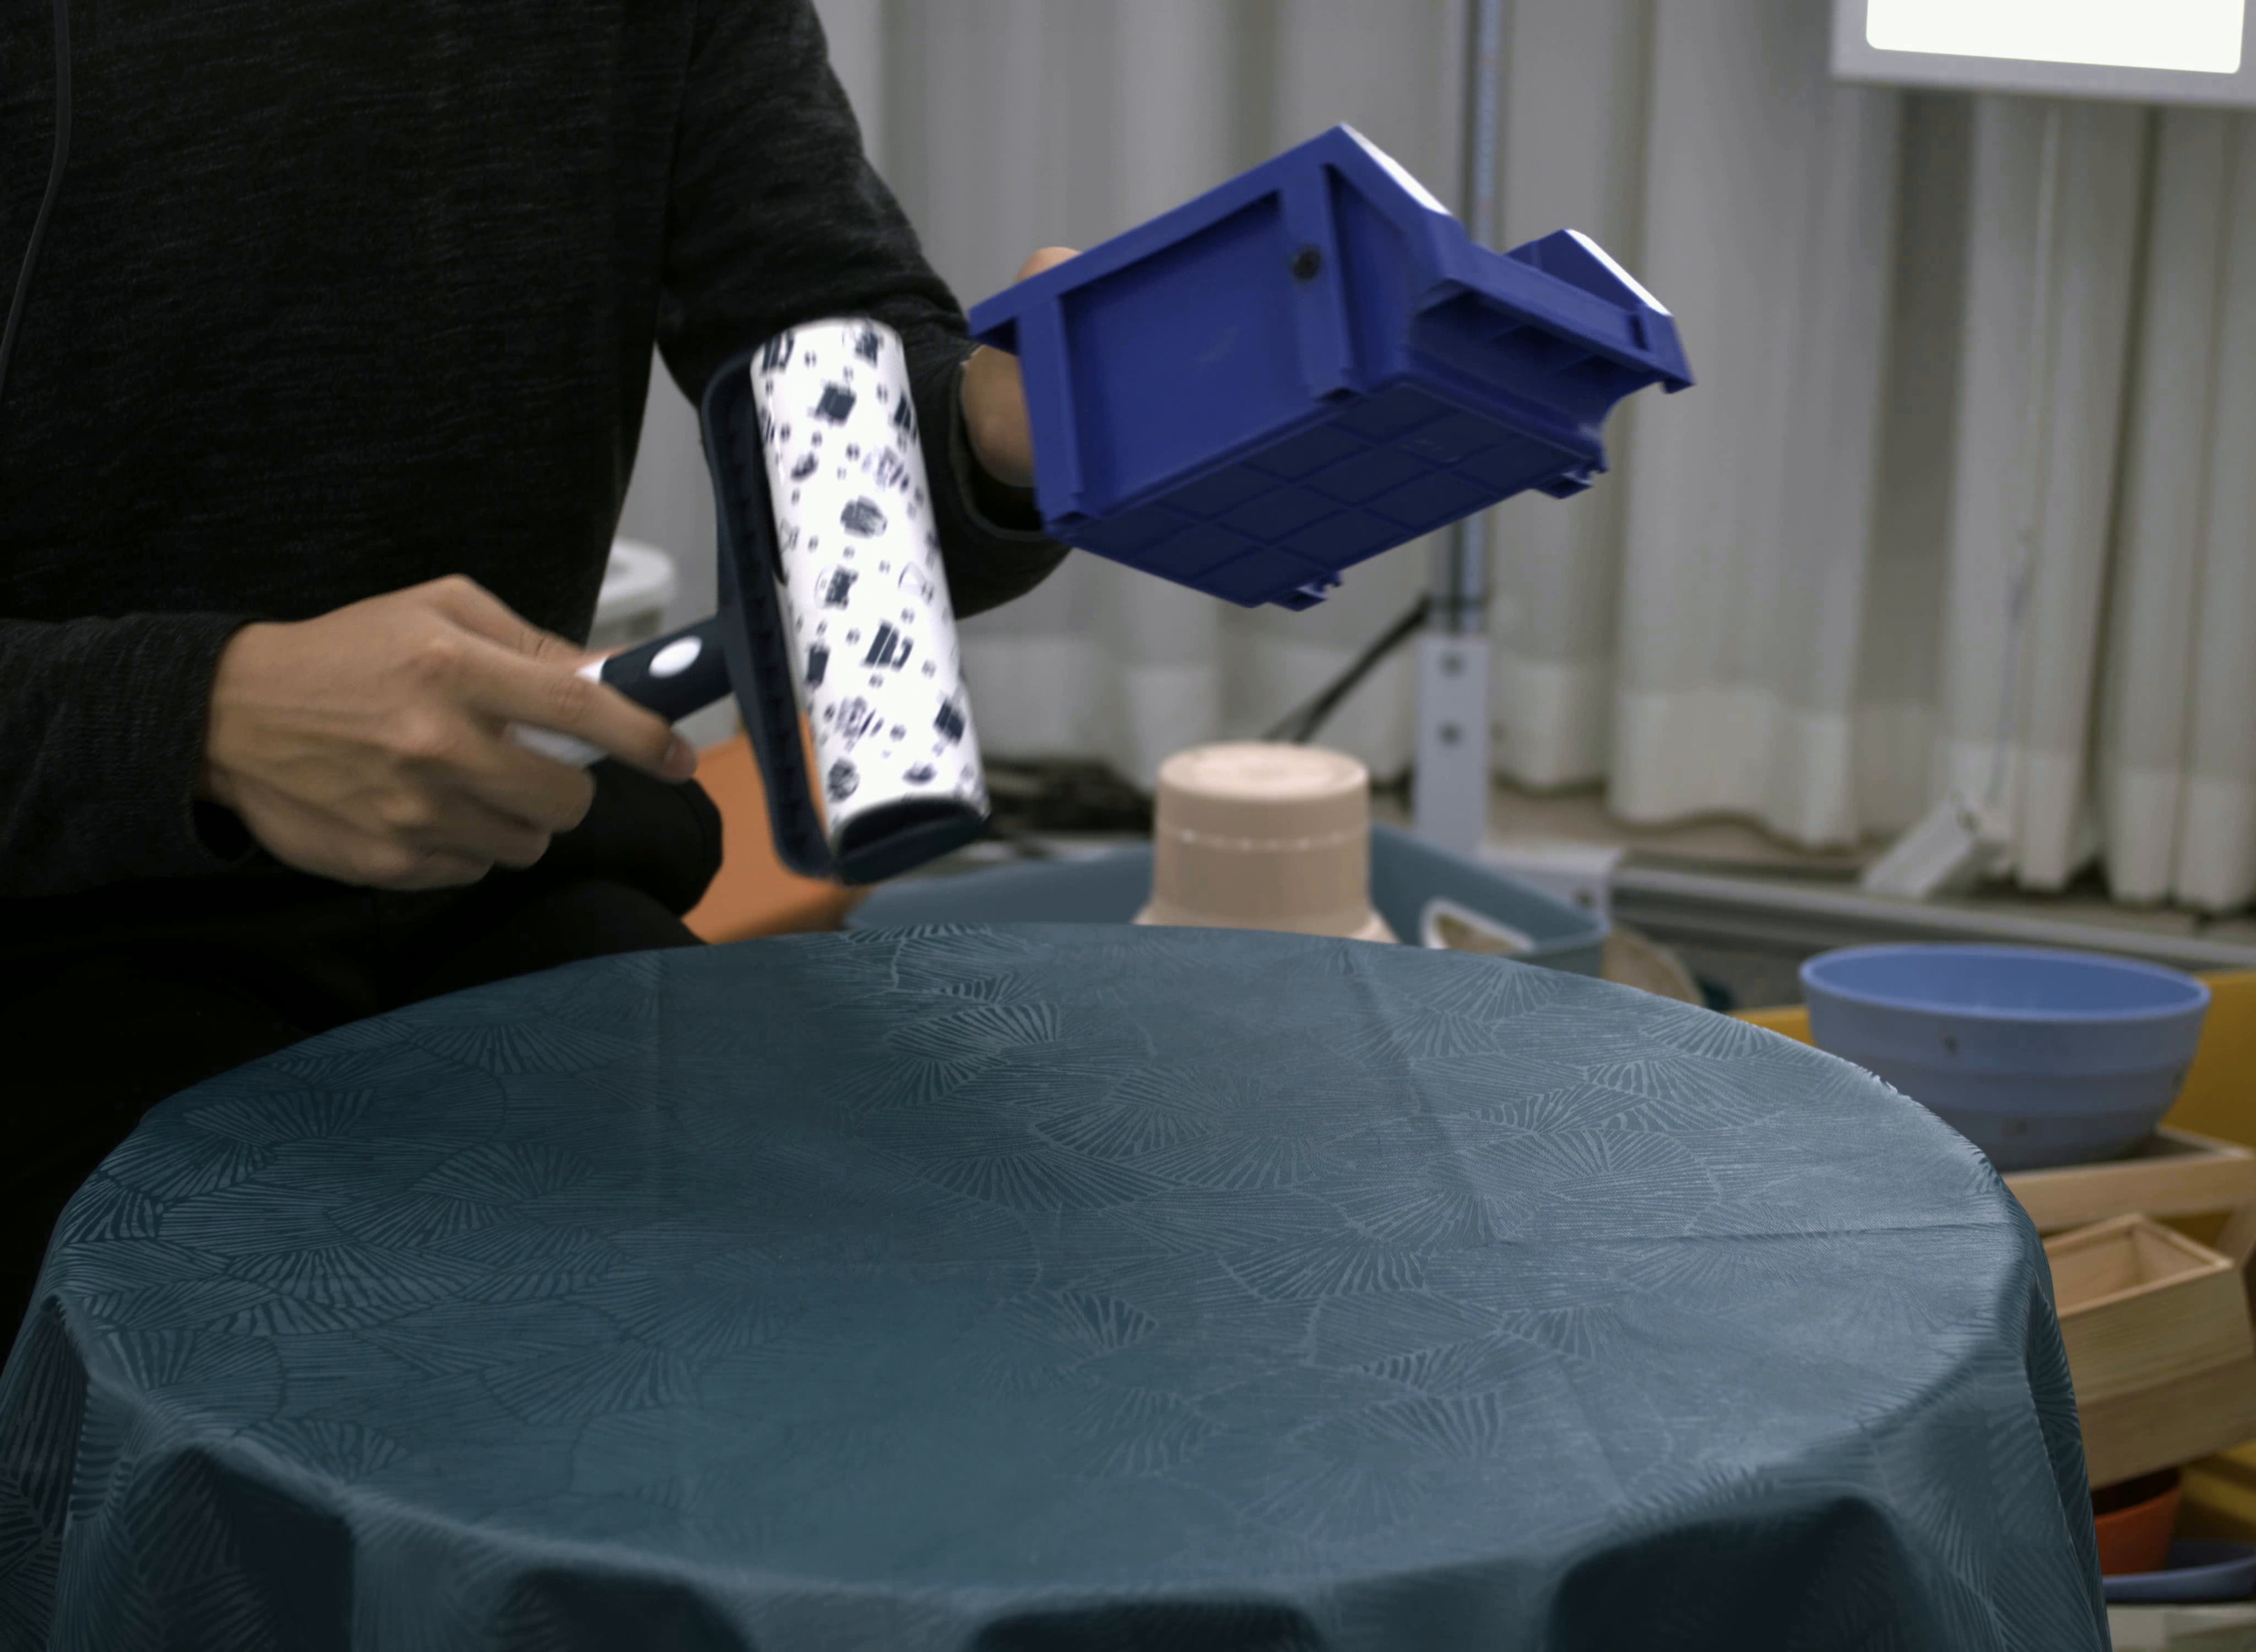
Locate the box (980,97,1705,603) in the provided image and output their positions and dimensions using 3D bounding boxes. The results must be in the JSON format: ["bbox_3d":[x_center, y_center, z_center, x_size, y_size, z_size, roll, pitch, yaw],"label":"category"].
[{"bbox_3d":[0.065,-0.141,1.574,0.178,0.081,0.126,-26,-29,36],"label":"box"}]

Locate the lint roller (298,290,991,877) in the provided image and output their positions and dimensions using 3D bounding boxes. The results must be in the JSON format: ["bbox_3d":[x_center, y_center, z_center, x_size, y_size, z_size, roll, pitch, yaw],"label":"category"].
[{"bbox_3d":[-0.161,-0.040,1.613,0.246,0.175,0.051,-23,-22,24],"label":"lint roller"}]
